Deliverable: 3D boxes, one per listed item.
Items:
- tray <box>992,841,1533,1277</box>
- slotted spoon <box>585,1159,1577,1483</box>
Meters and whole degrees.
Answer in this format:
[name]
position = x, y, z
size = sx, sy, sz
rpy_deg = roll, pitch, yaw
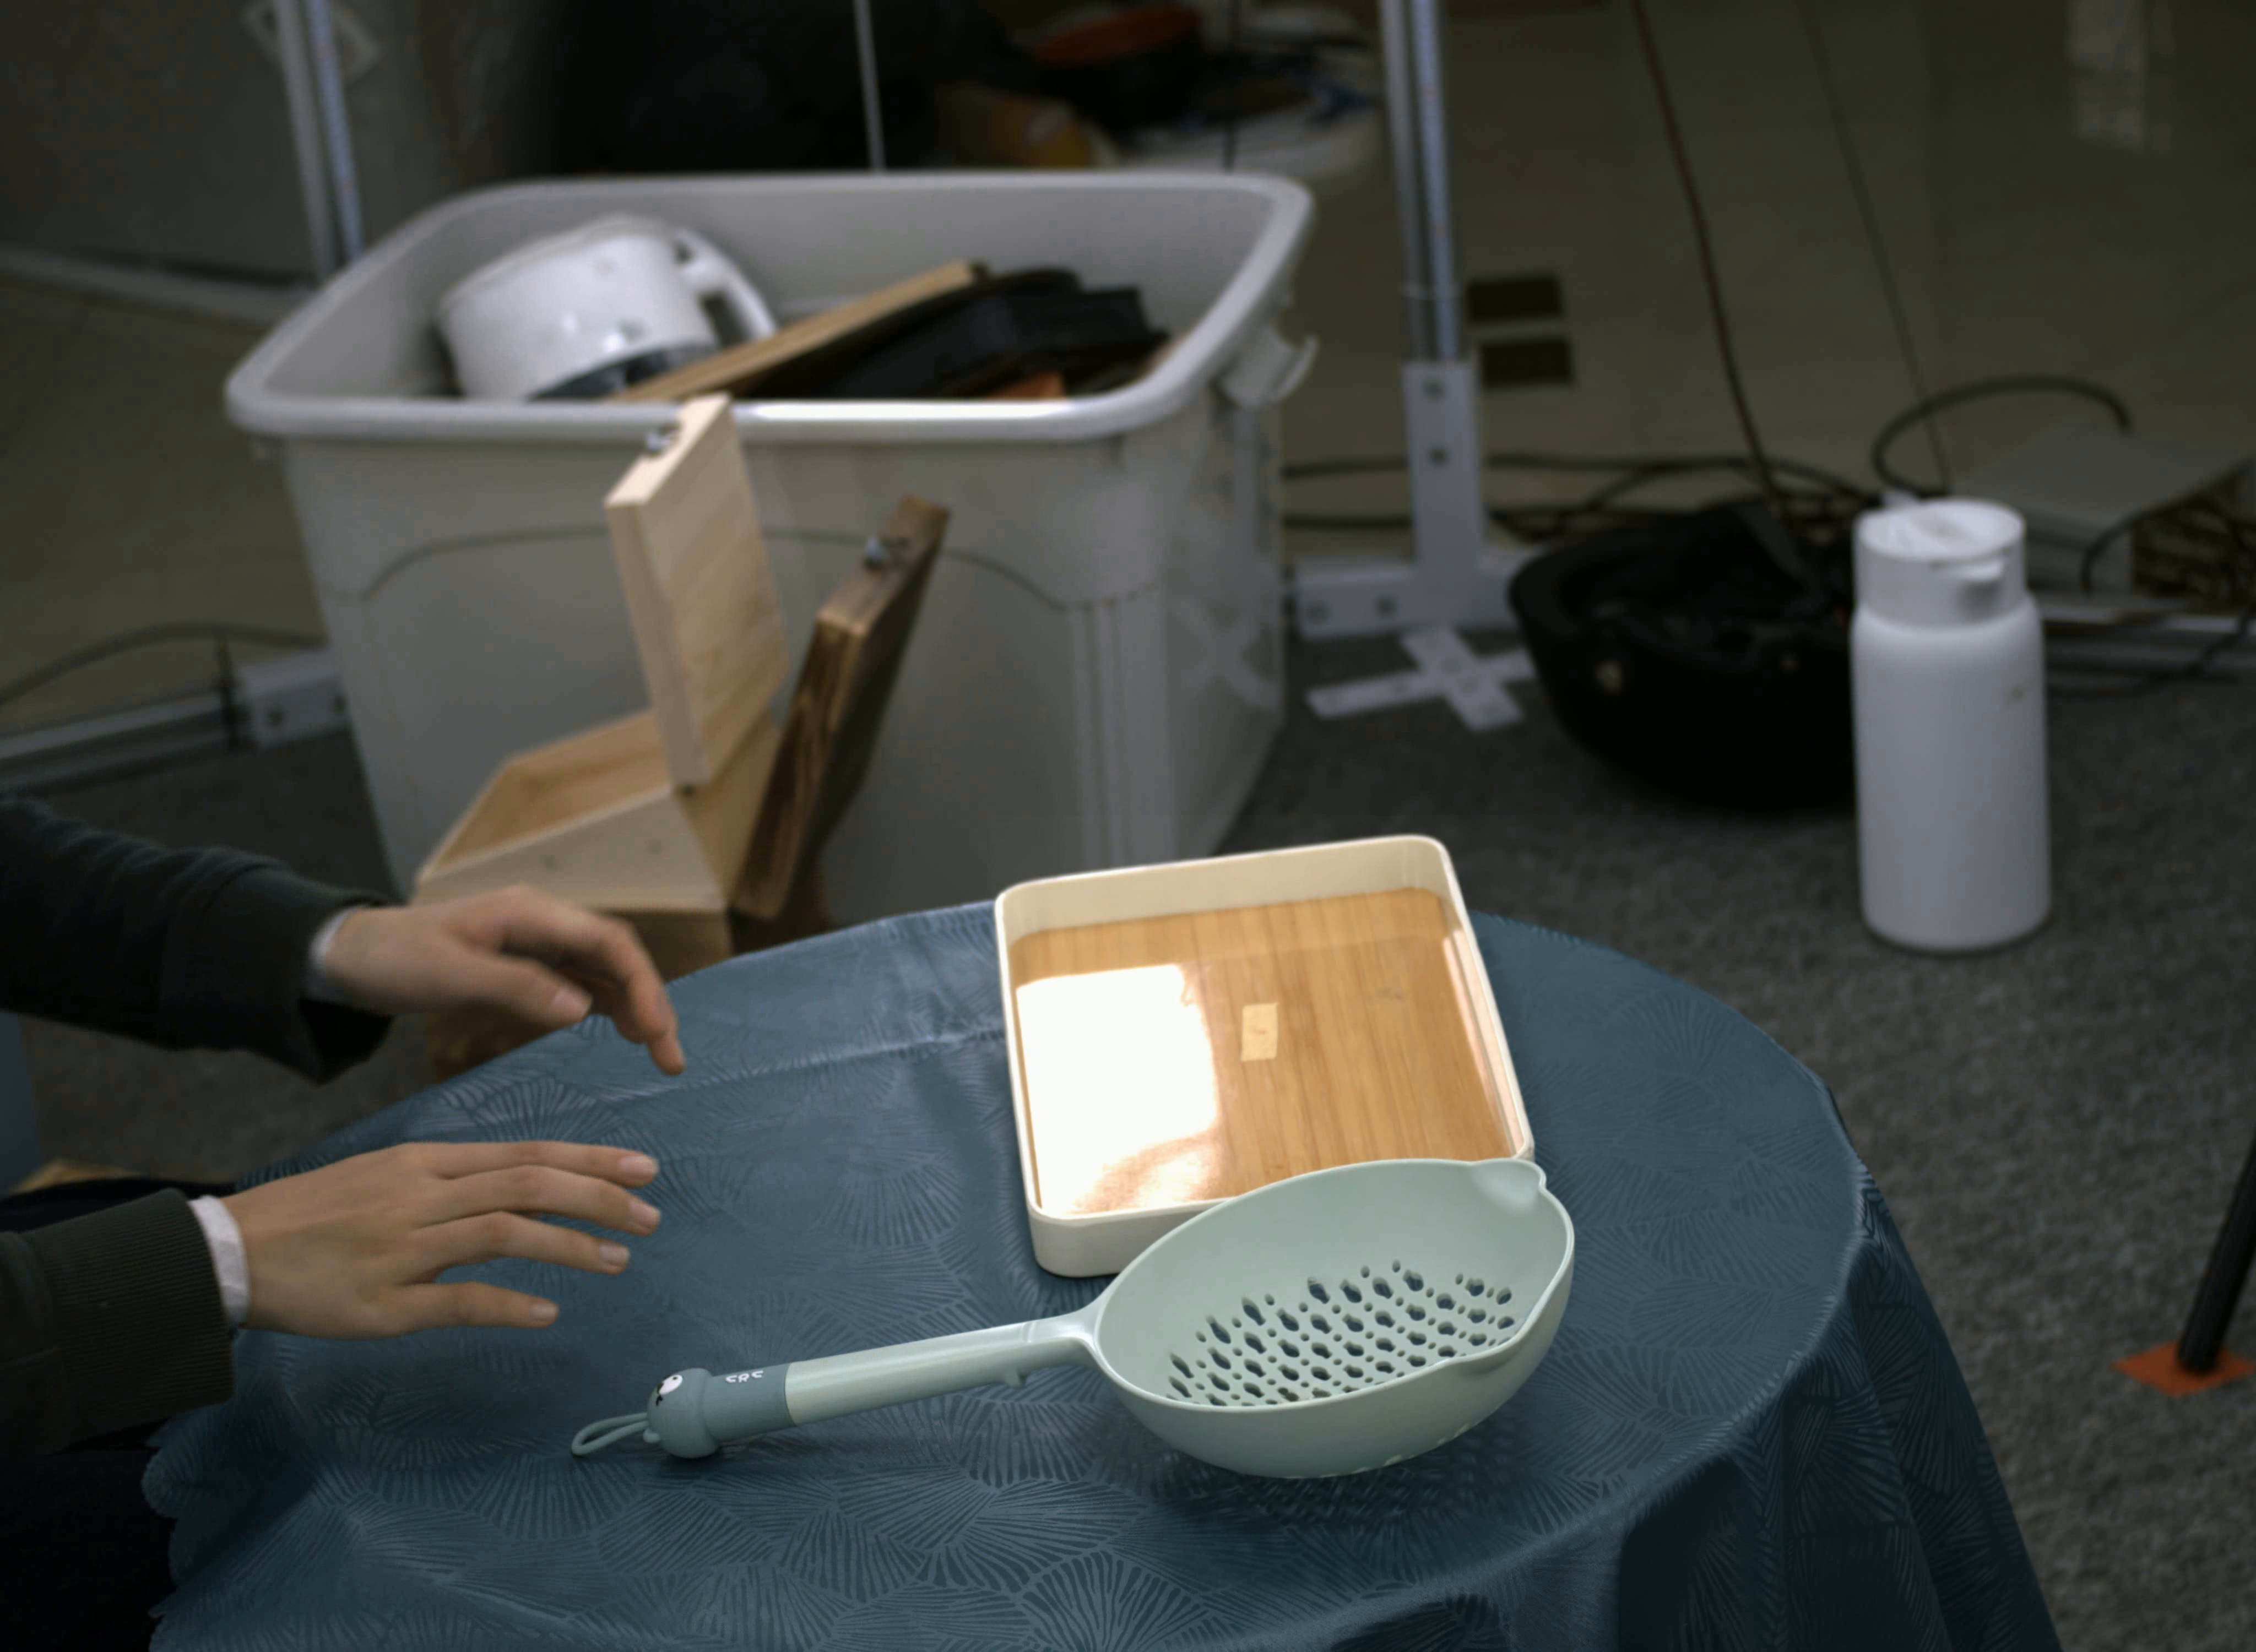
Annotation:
[tray]
position = 0.048, 0.087, 2.222
size = 0.191, 0.028, 0.296
rpy_deg = -7, 24, -1
[slotted spoon]
position = -0.020, 0.185, 1.982
size = 0.358, 0.076, 0.167
rpy_deg = -3, 24, 8
